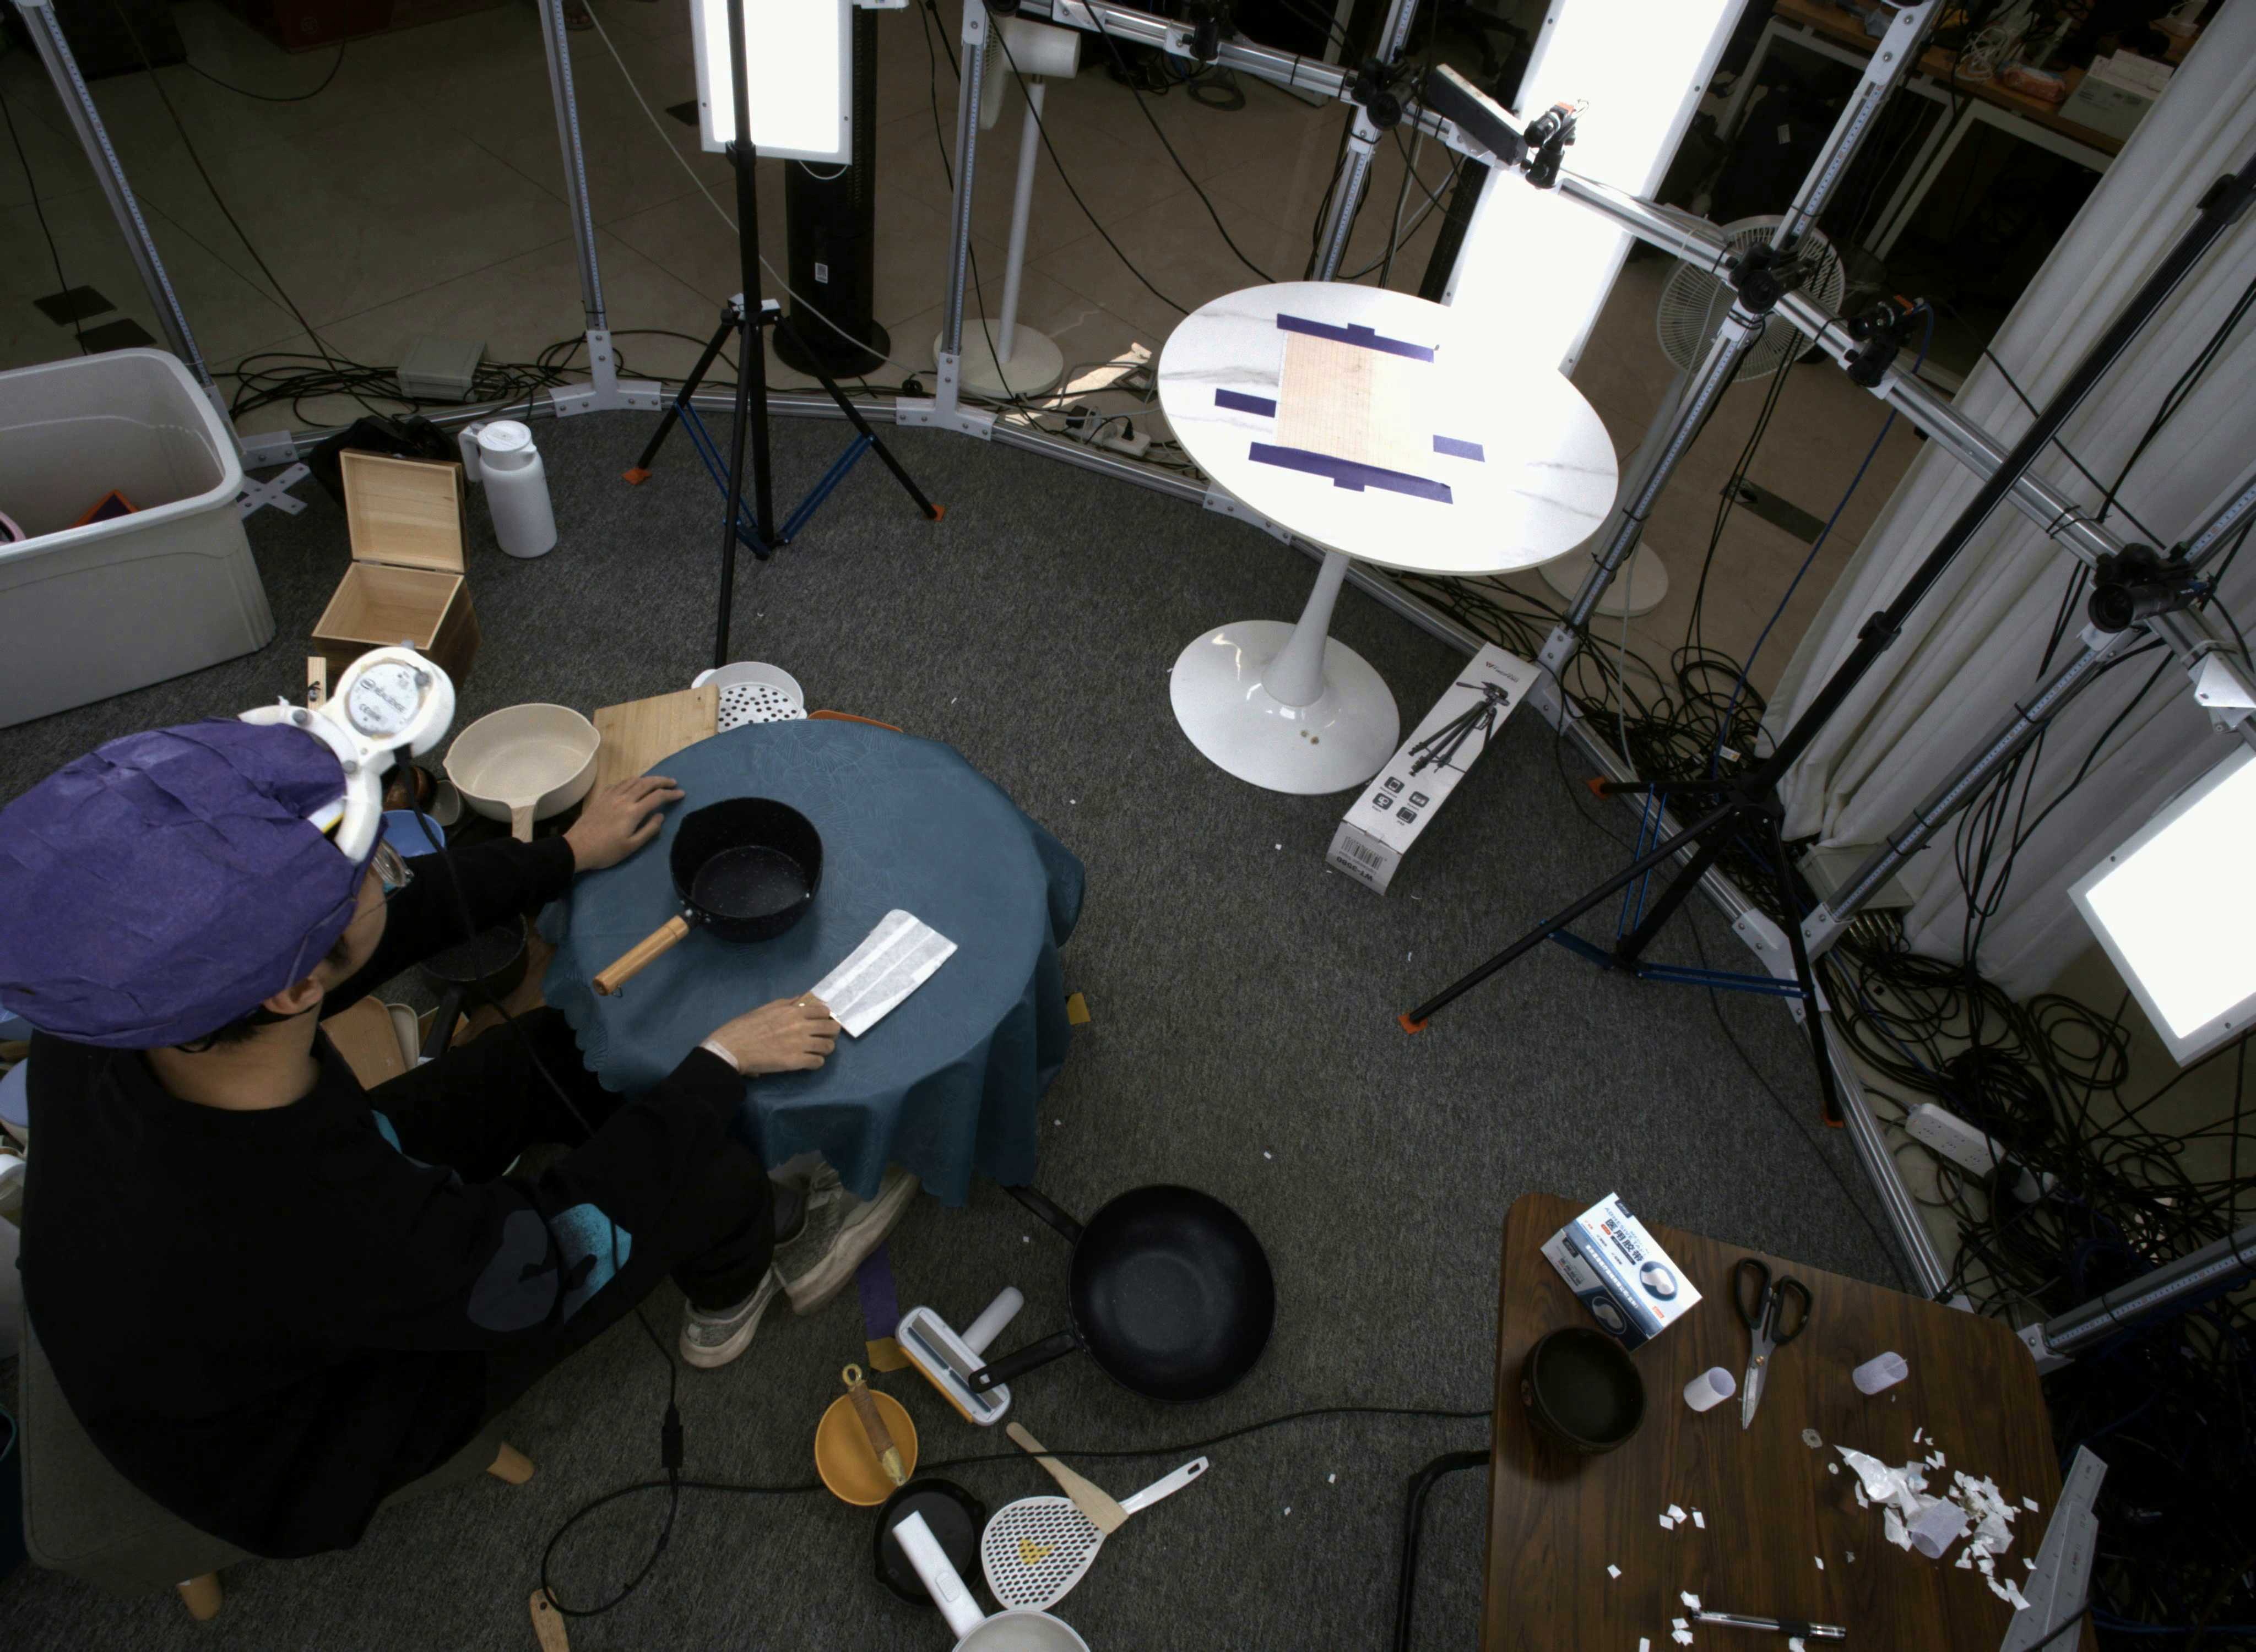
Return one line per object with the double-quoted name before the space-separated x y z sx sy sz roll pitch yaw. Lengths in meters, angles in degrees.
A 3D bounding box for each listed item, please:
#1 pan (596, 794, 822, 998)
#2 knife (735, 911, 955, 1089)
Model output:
"pan" -0.507 0.102 1.544 0.204 0.110 0.341 30 51 8
"knife" -0.345 0.206 1.569 0.111 0.022 0.316 39 51 15
